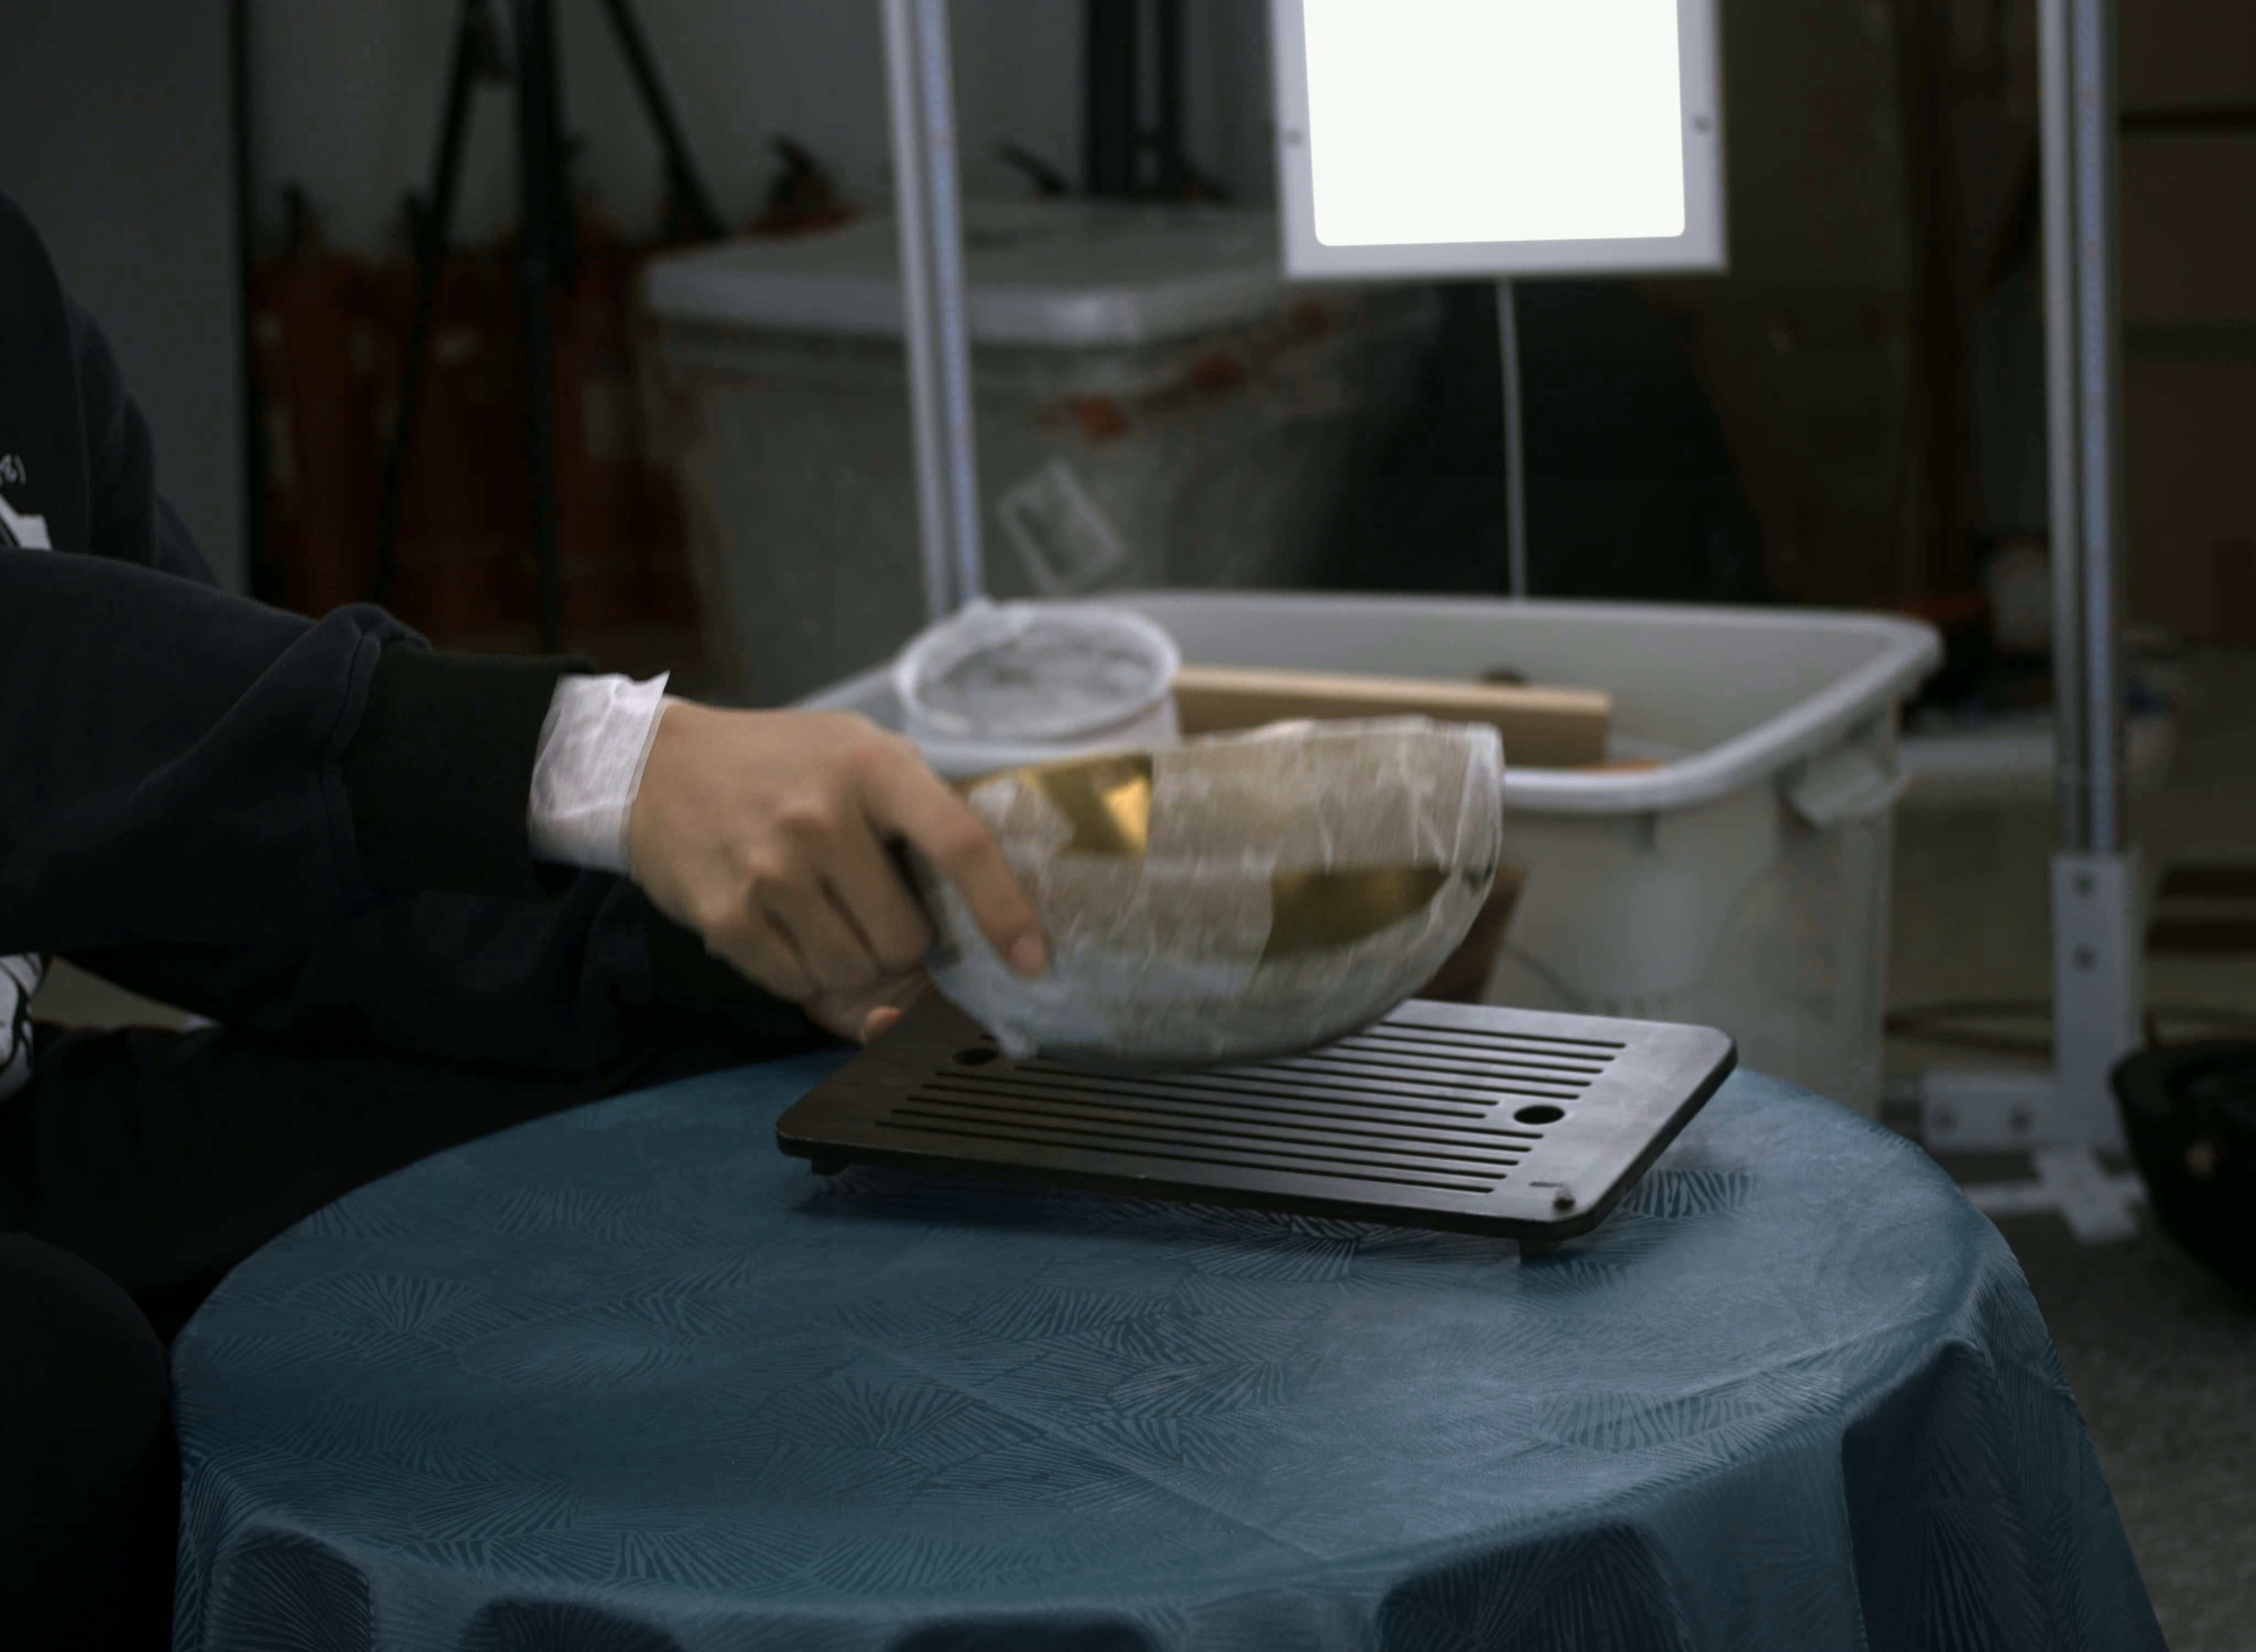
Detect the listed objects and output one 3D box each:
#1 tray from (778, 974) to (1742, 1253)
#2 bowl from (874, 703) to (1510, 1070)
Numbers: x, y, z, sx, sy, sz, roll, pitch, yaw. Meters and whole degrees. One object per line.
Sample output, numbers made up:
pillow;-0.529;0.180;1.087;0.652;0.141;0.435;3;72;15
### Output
tray;0.047;0.096;1.917;0.311;0.019;0.166;4;22;27
bowl;0.023;0.026;1.723;0.214;0.095;0.215;-8;-7;-2
